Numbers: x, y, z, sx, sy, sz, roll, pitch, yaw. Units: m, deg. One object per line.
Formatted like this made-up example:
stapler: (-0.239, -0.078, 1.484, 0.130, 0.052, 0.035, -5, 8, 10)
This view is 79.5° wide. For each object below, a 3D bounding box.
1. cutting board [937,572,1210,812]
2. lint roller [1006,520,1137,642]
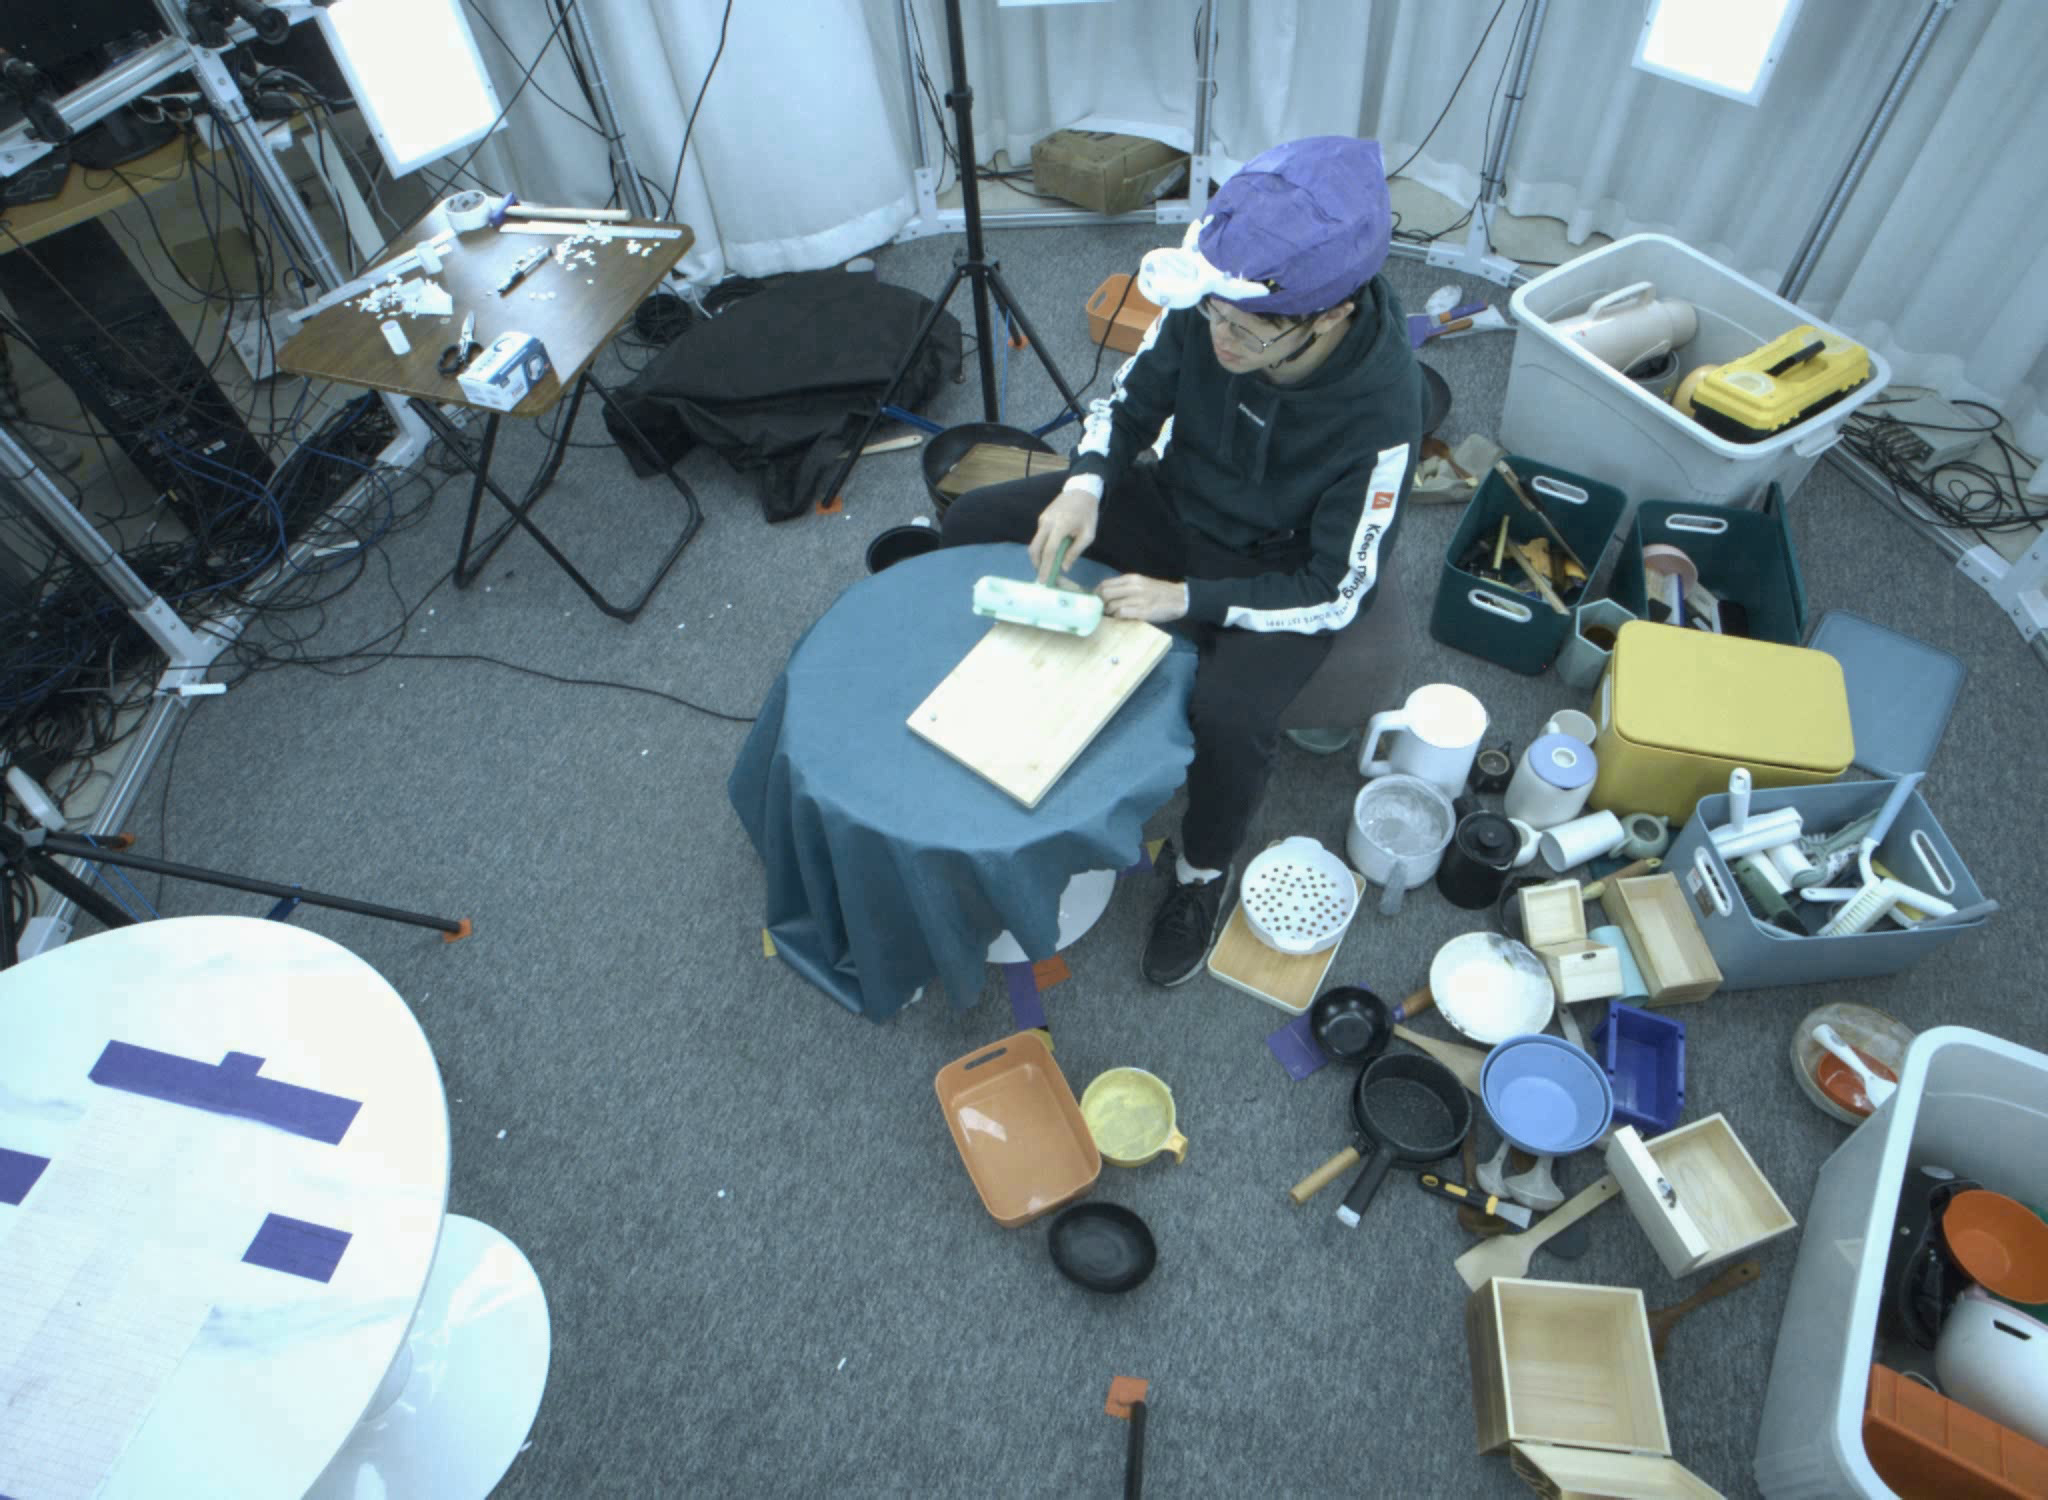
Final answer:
cutting board: (0.072, -0.096, 1.811, 0.246, 0.024, 0.350, 34, 70, 23)
lint roller: (0.082, -0.266, 1.820, 0.195, 0.083, 0.183, 16, 87, 23)
